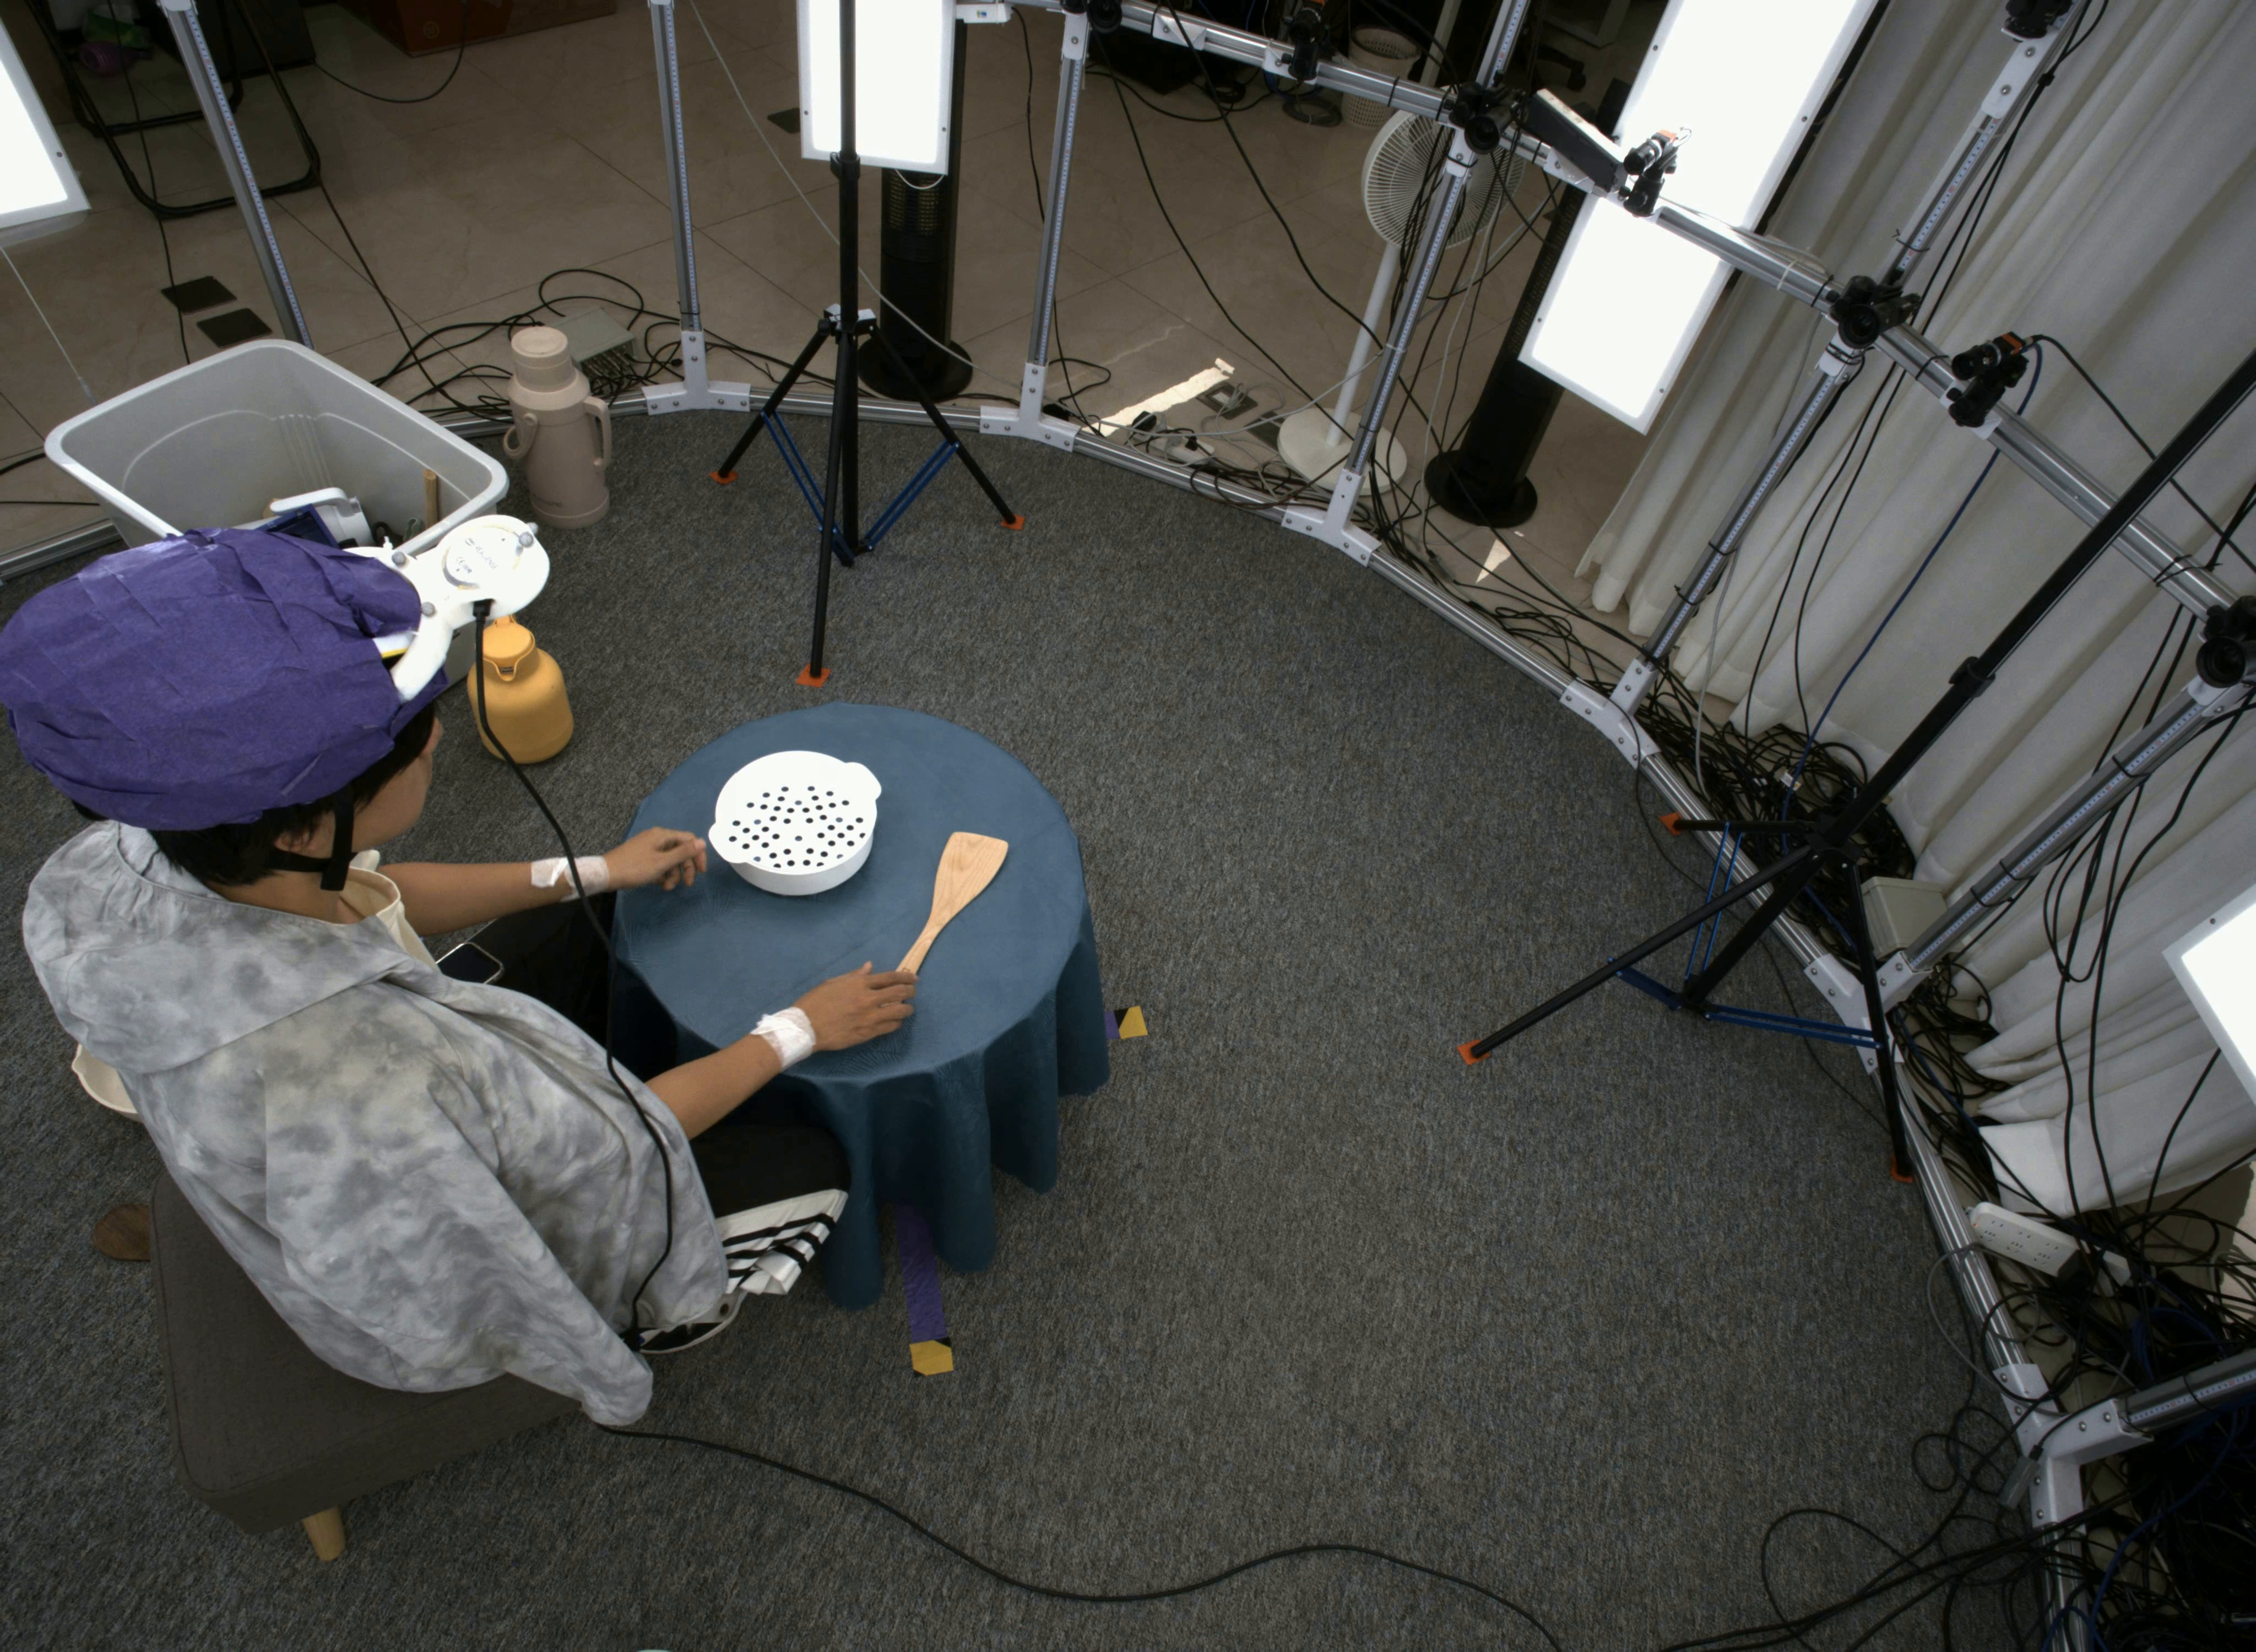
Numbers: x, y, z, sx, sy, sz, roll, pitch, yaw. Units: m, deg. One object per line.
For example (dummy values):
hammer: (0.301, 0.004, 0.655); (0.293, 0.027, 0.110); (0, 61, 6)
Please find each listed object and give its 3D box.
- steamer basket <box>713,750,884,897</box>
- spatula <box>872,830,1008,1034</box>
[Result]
steamer basket: (-0.425, -0.003, 1.687); (0.231, 0.071, 0.197); (-29, 64, -29)
spatula: (-0.249, 0.127, 1.664); (0.079, 0.017, 0.325); (22, 52, 4)
